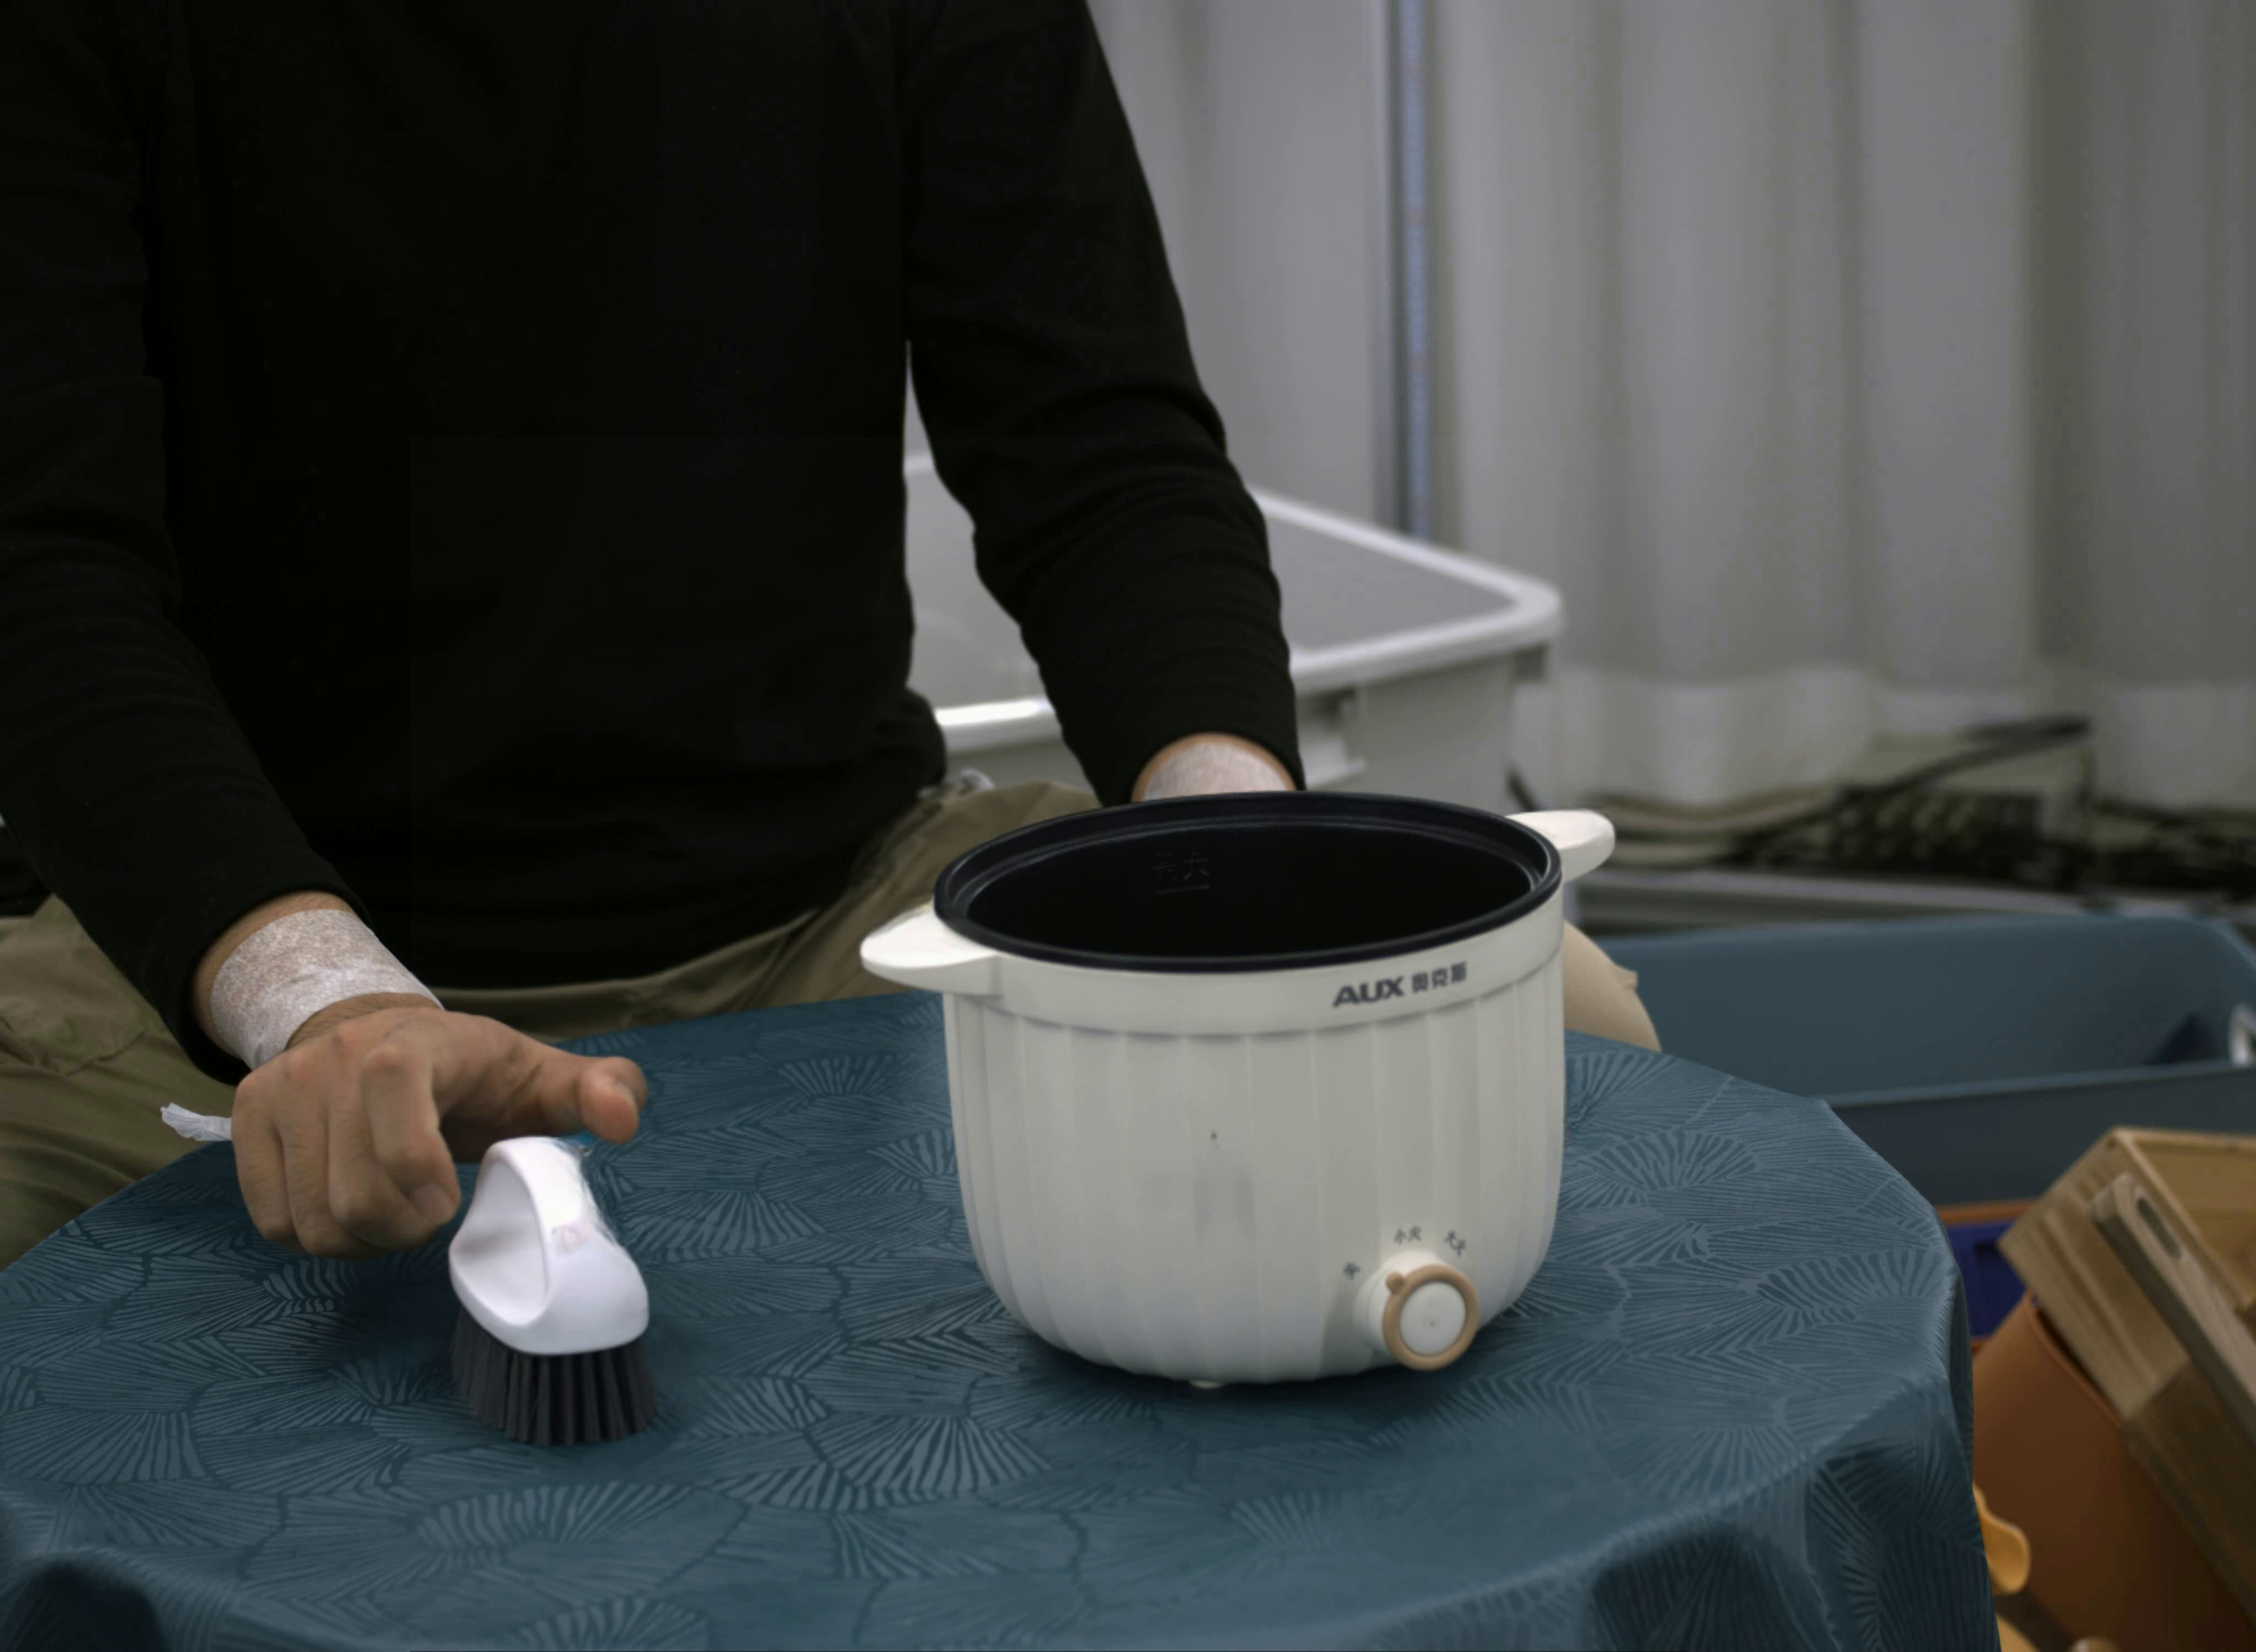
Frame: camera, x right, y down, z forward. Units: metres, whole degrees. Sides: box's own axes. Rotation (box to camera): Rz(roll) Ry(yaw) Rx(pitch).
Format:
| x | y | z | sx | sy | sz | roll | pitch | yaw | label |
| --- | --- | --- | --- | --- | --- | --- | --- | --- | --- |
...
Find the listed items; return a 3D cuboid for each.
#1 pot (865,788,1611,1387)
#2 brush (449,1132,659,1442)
| x | y | z | sx | sy | sz | roll | pitch | yaw | label |
| --- | --- | --- | --- | --- | --- | --- | --- | --- | --- |
| 0.041 | 0.077 | 1.579 | 0.239 | 0.142 | 0.192 | -11 | 14 | -25 | pot |
| -0.166 | 0.126 | 1.561 | 0.050 | 0.072 | 0.100 | -8 | 15 | -17 | brush |
